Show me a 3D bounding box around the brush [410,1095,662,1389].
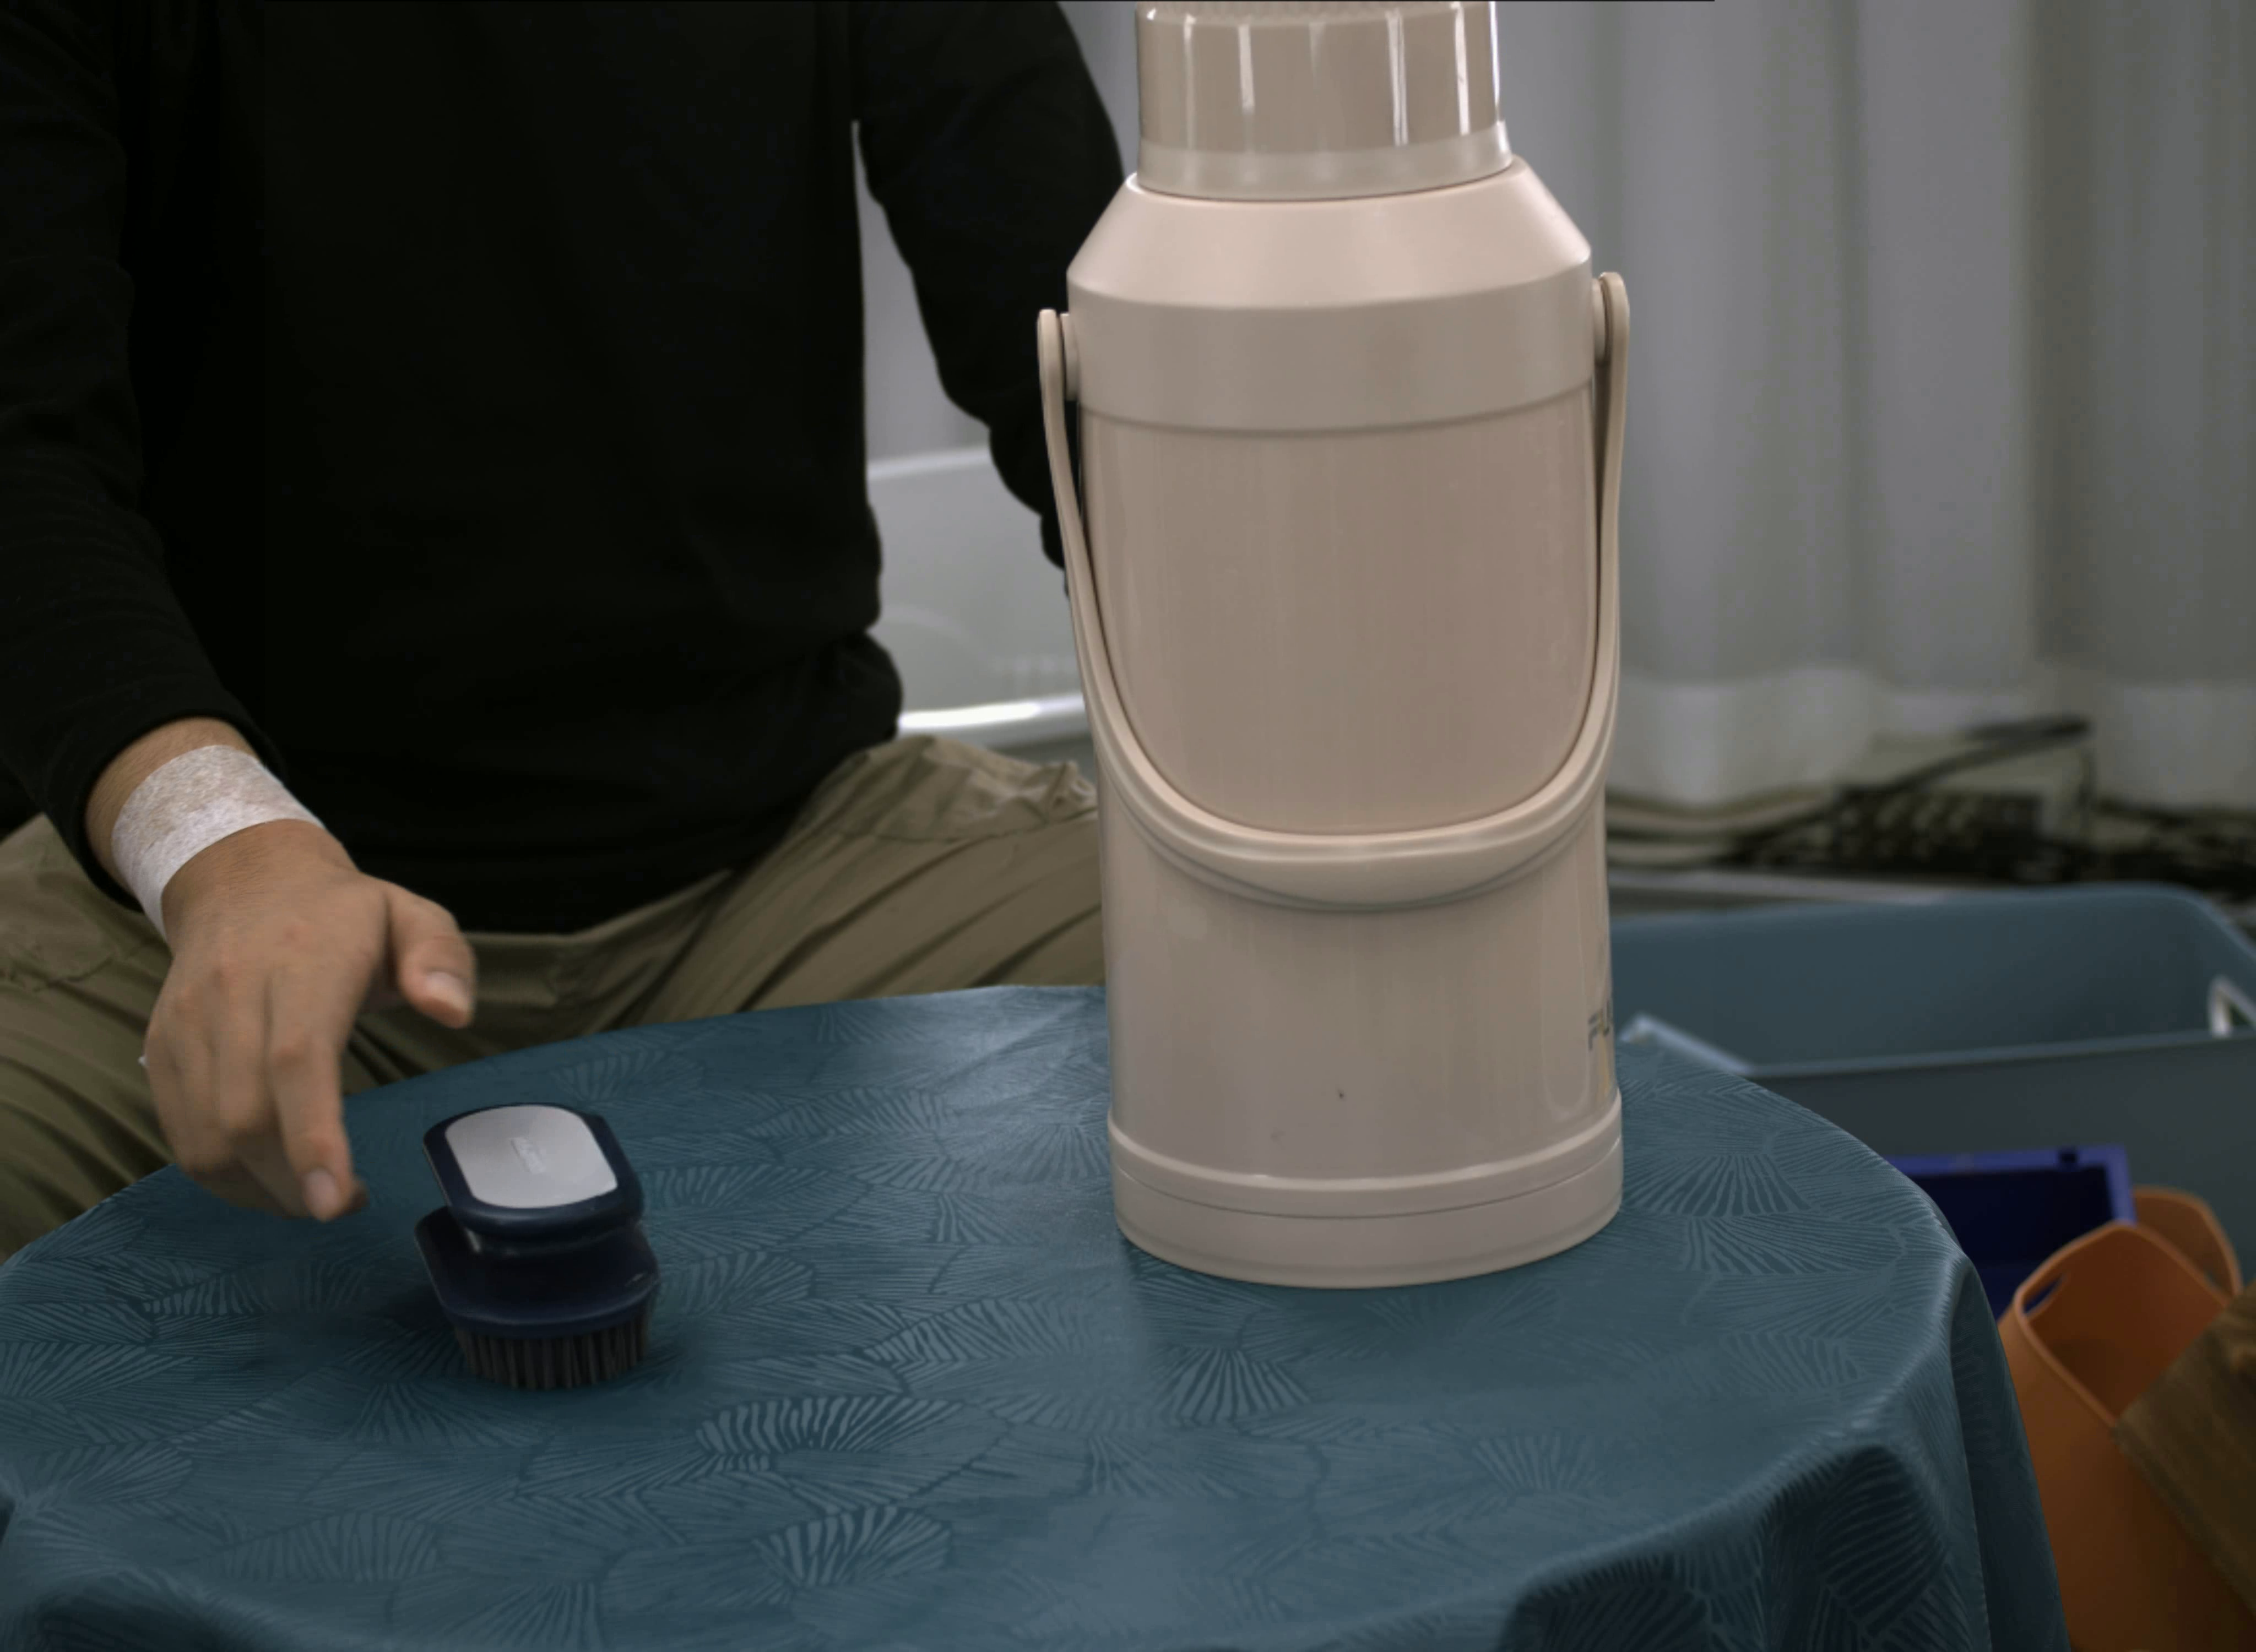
[{"bbox_3d":[-0.175,0.124,1.611,0.067,0.061,0.122,-5,16,-11],"label":"brush"}]

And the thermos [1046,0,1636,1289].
[{"bbox_3d":[0.067,-0.078,1.660,0.174,0.405,0.208,-5,14,-4],"label":"thermos"}]
